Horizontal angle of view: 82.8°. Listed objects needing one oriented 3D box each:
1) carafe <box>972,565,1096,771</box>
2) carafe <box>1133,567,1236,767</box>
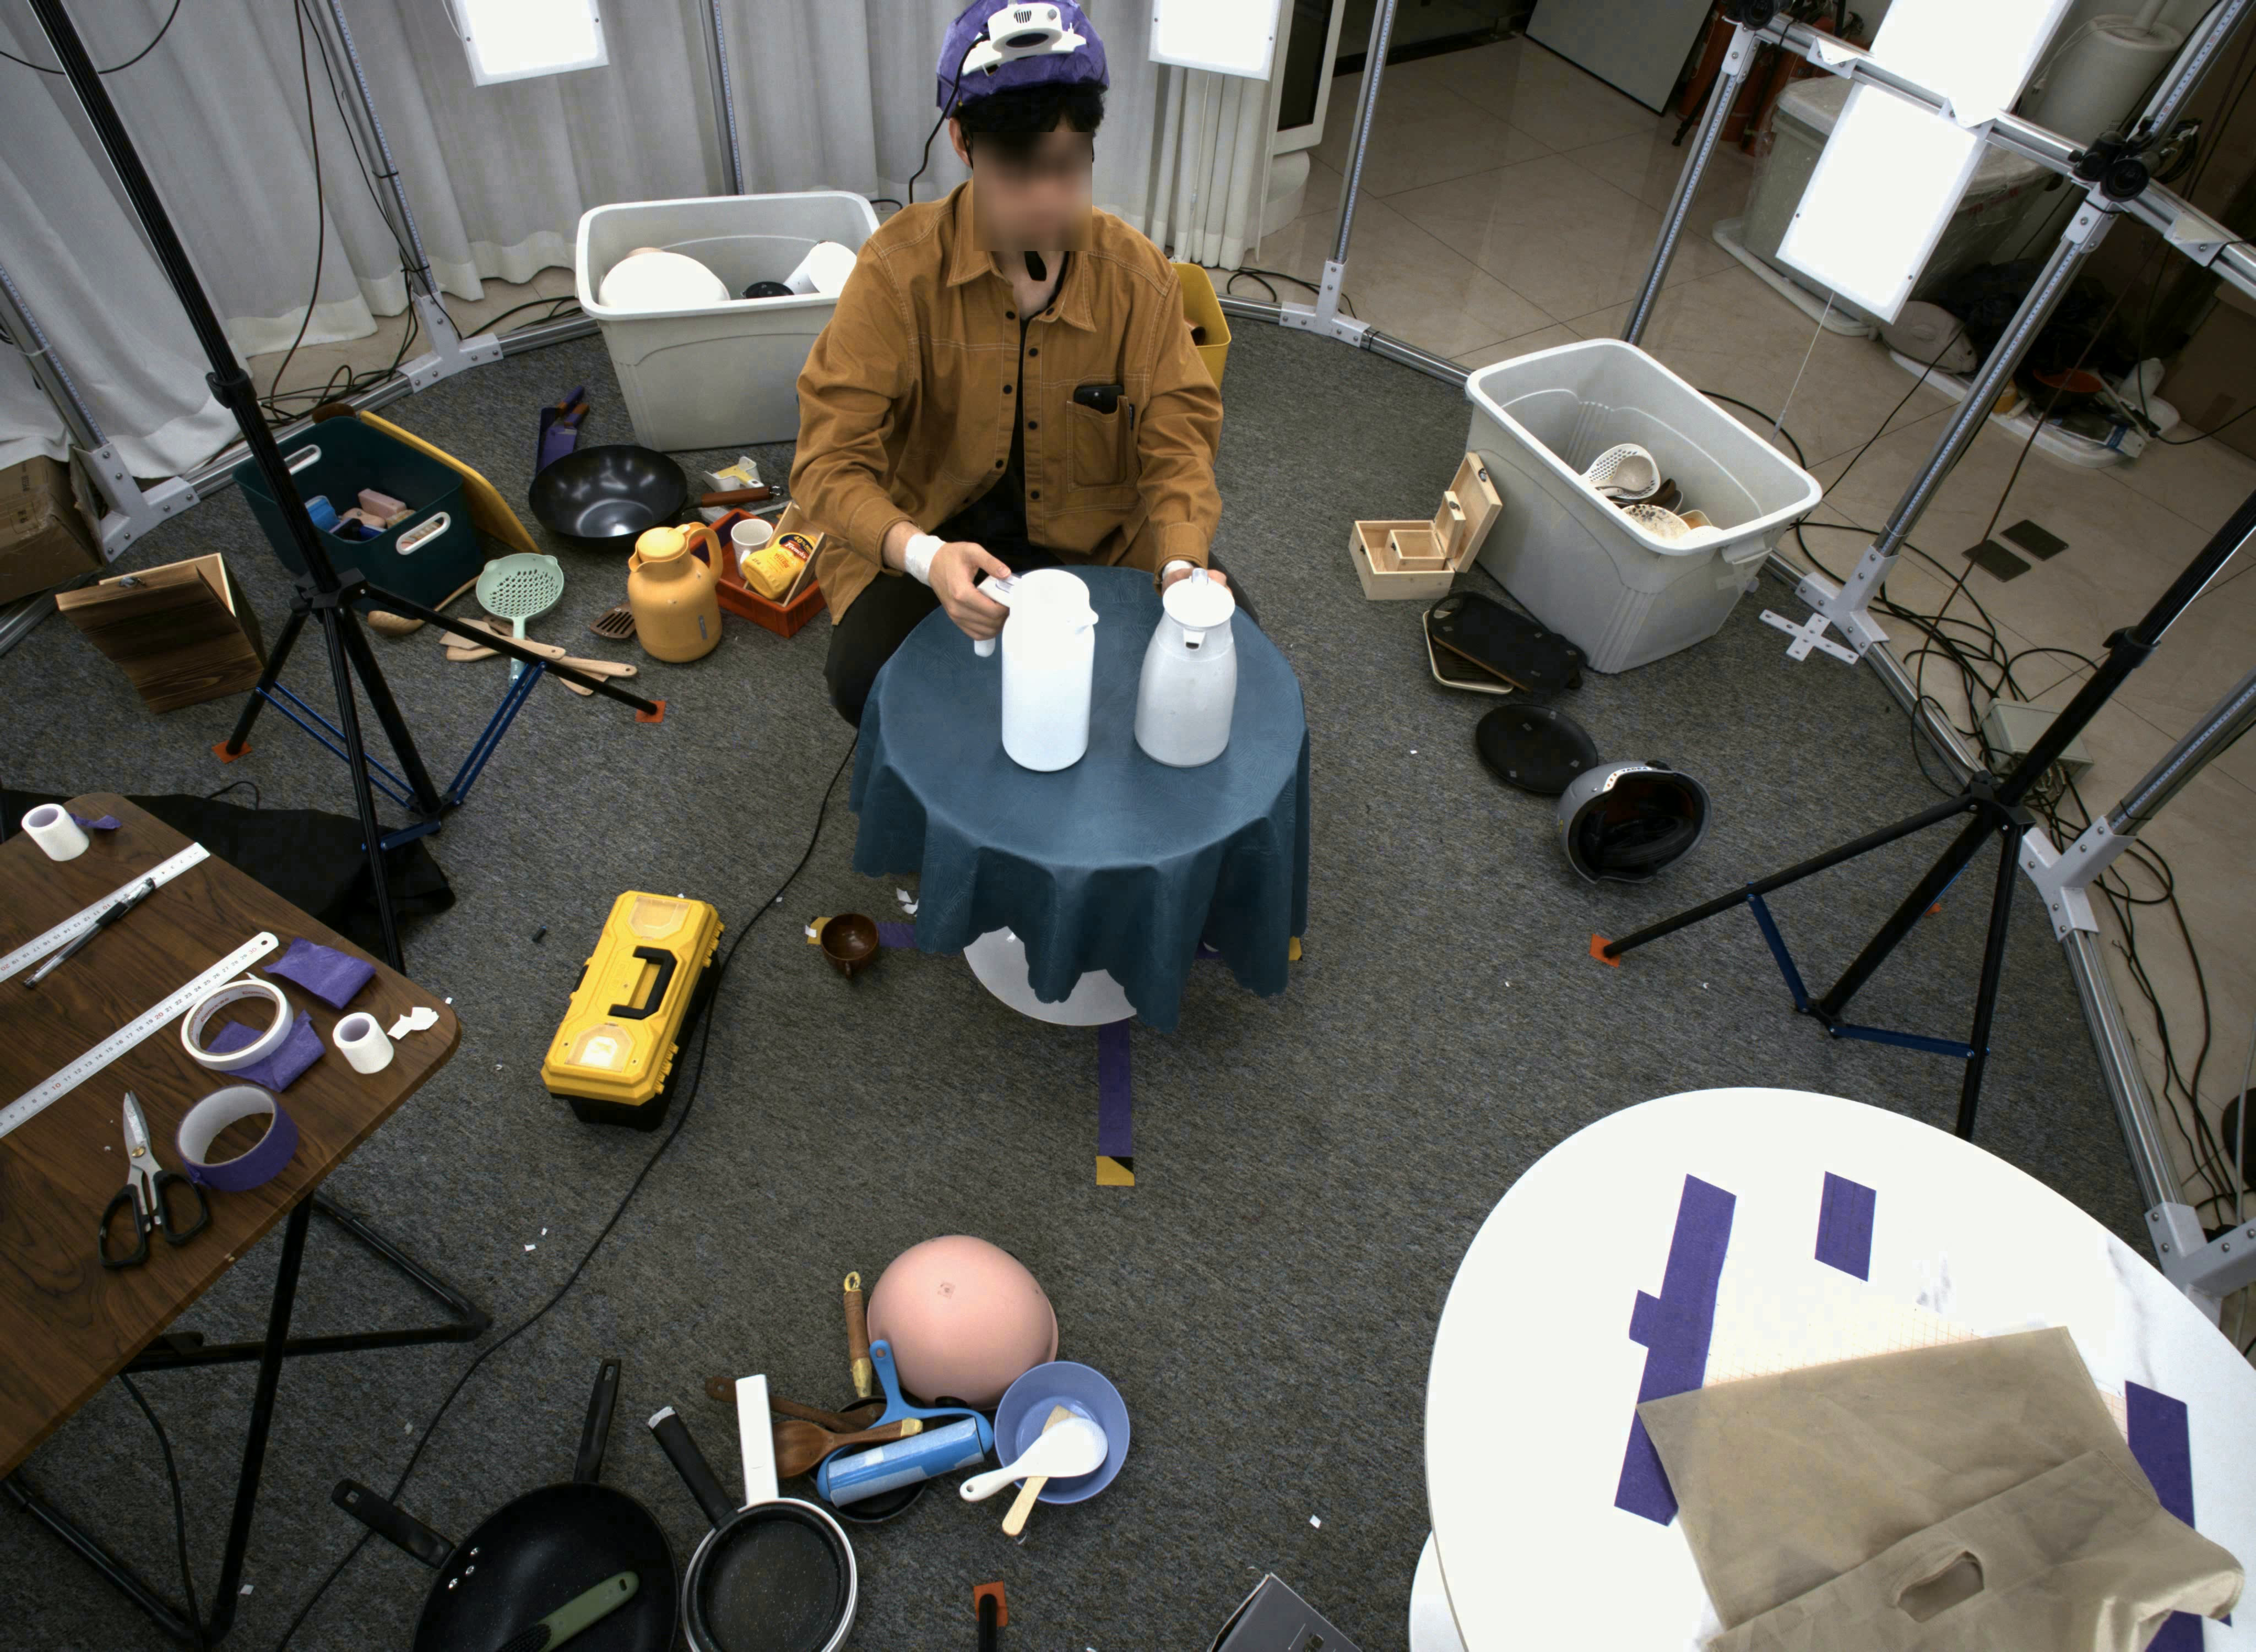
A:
[{"bbox_3d":[-0.123,-0.205,1.667,0.174,0.262,0.126,25,54,16],"label":"carafe"},{"bbox_3d":[0.082,-0.223,1.708,0.132,0.242,0.172,7,48,2],"label":"carafe"}]
